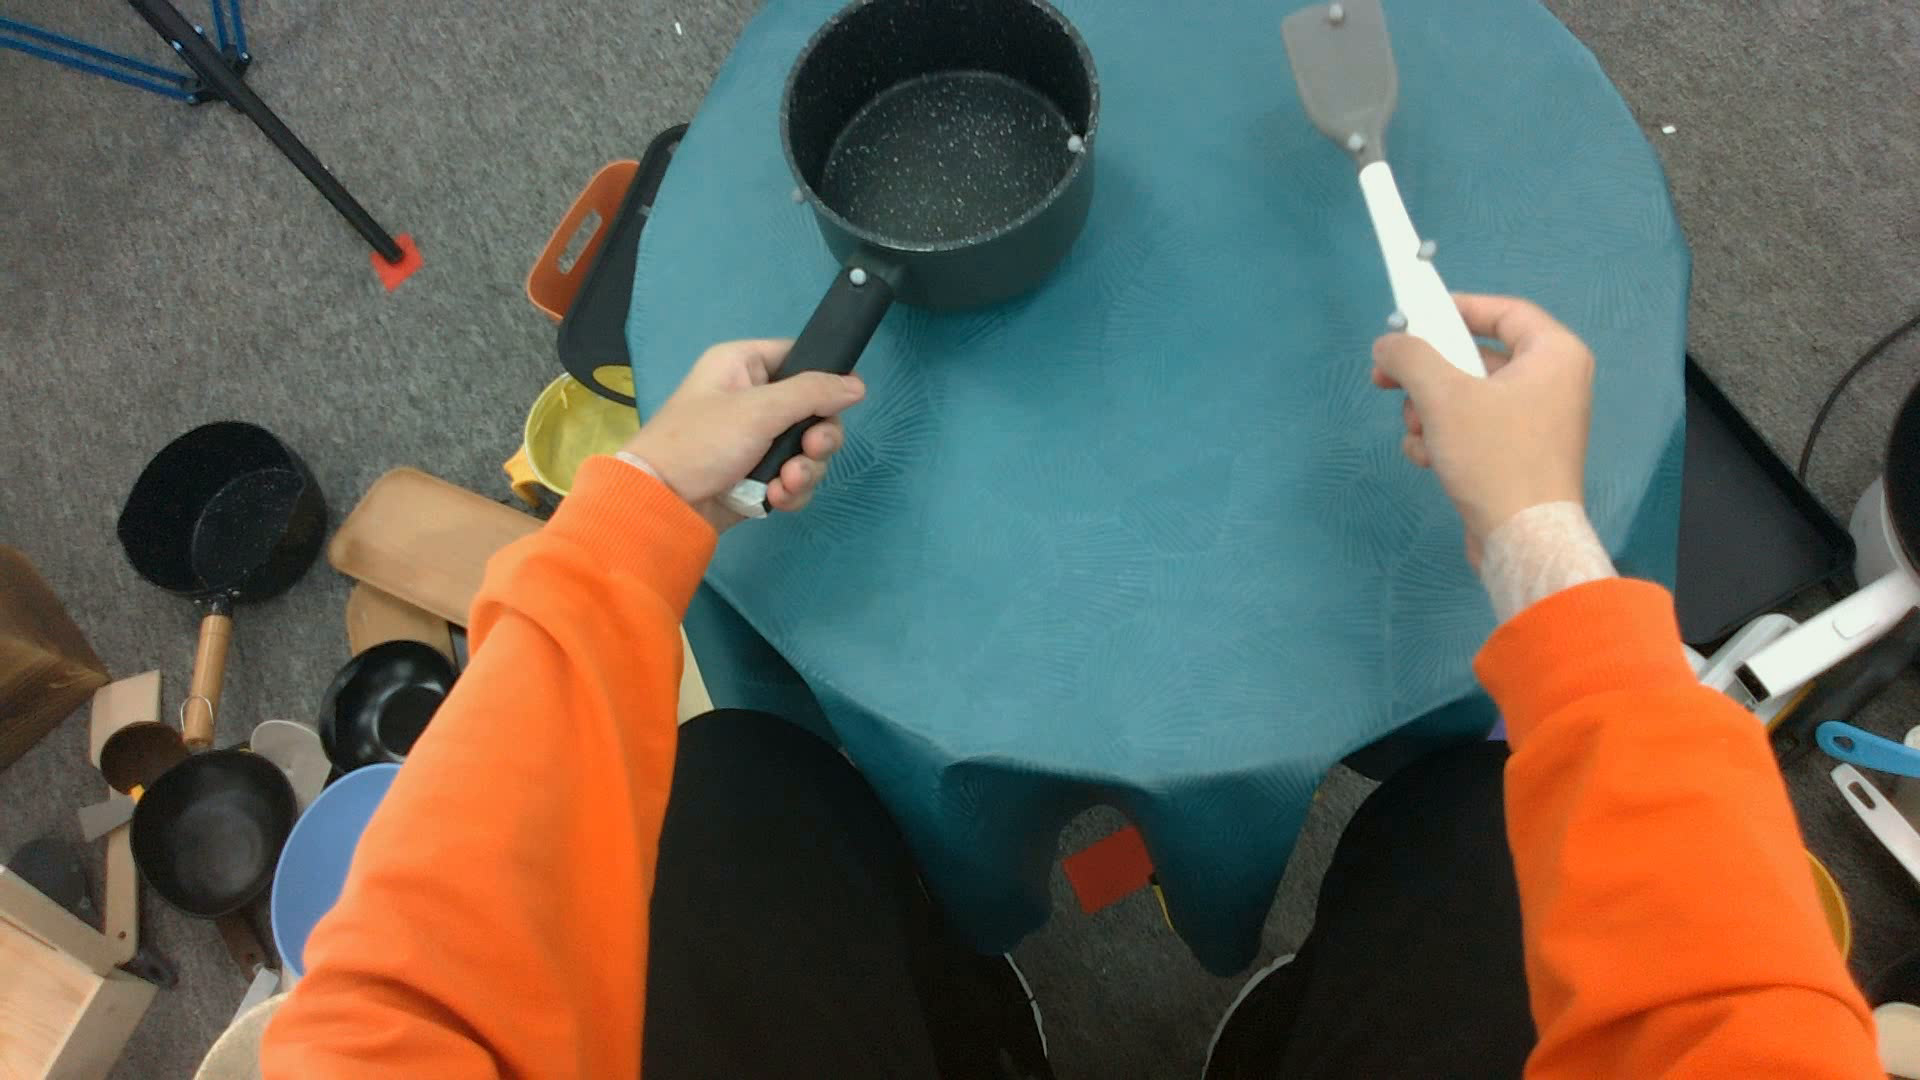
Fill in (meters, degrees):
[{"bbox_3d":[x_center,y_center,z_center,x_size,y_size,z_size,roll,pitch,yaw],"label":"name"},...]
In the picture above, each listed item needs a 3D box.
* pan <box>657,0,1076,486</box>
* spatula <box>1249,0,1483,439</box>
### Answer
[{"bbox_3d":[-0.056,-0.160,0.738,0.172,0.086,0.330,23,72,14],"label":"pan"},{"bbox_3d":[0.203,-0.176,0.693,0.058,0.032,0.288,-16,58,14],"label":"spatula"}]
